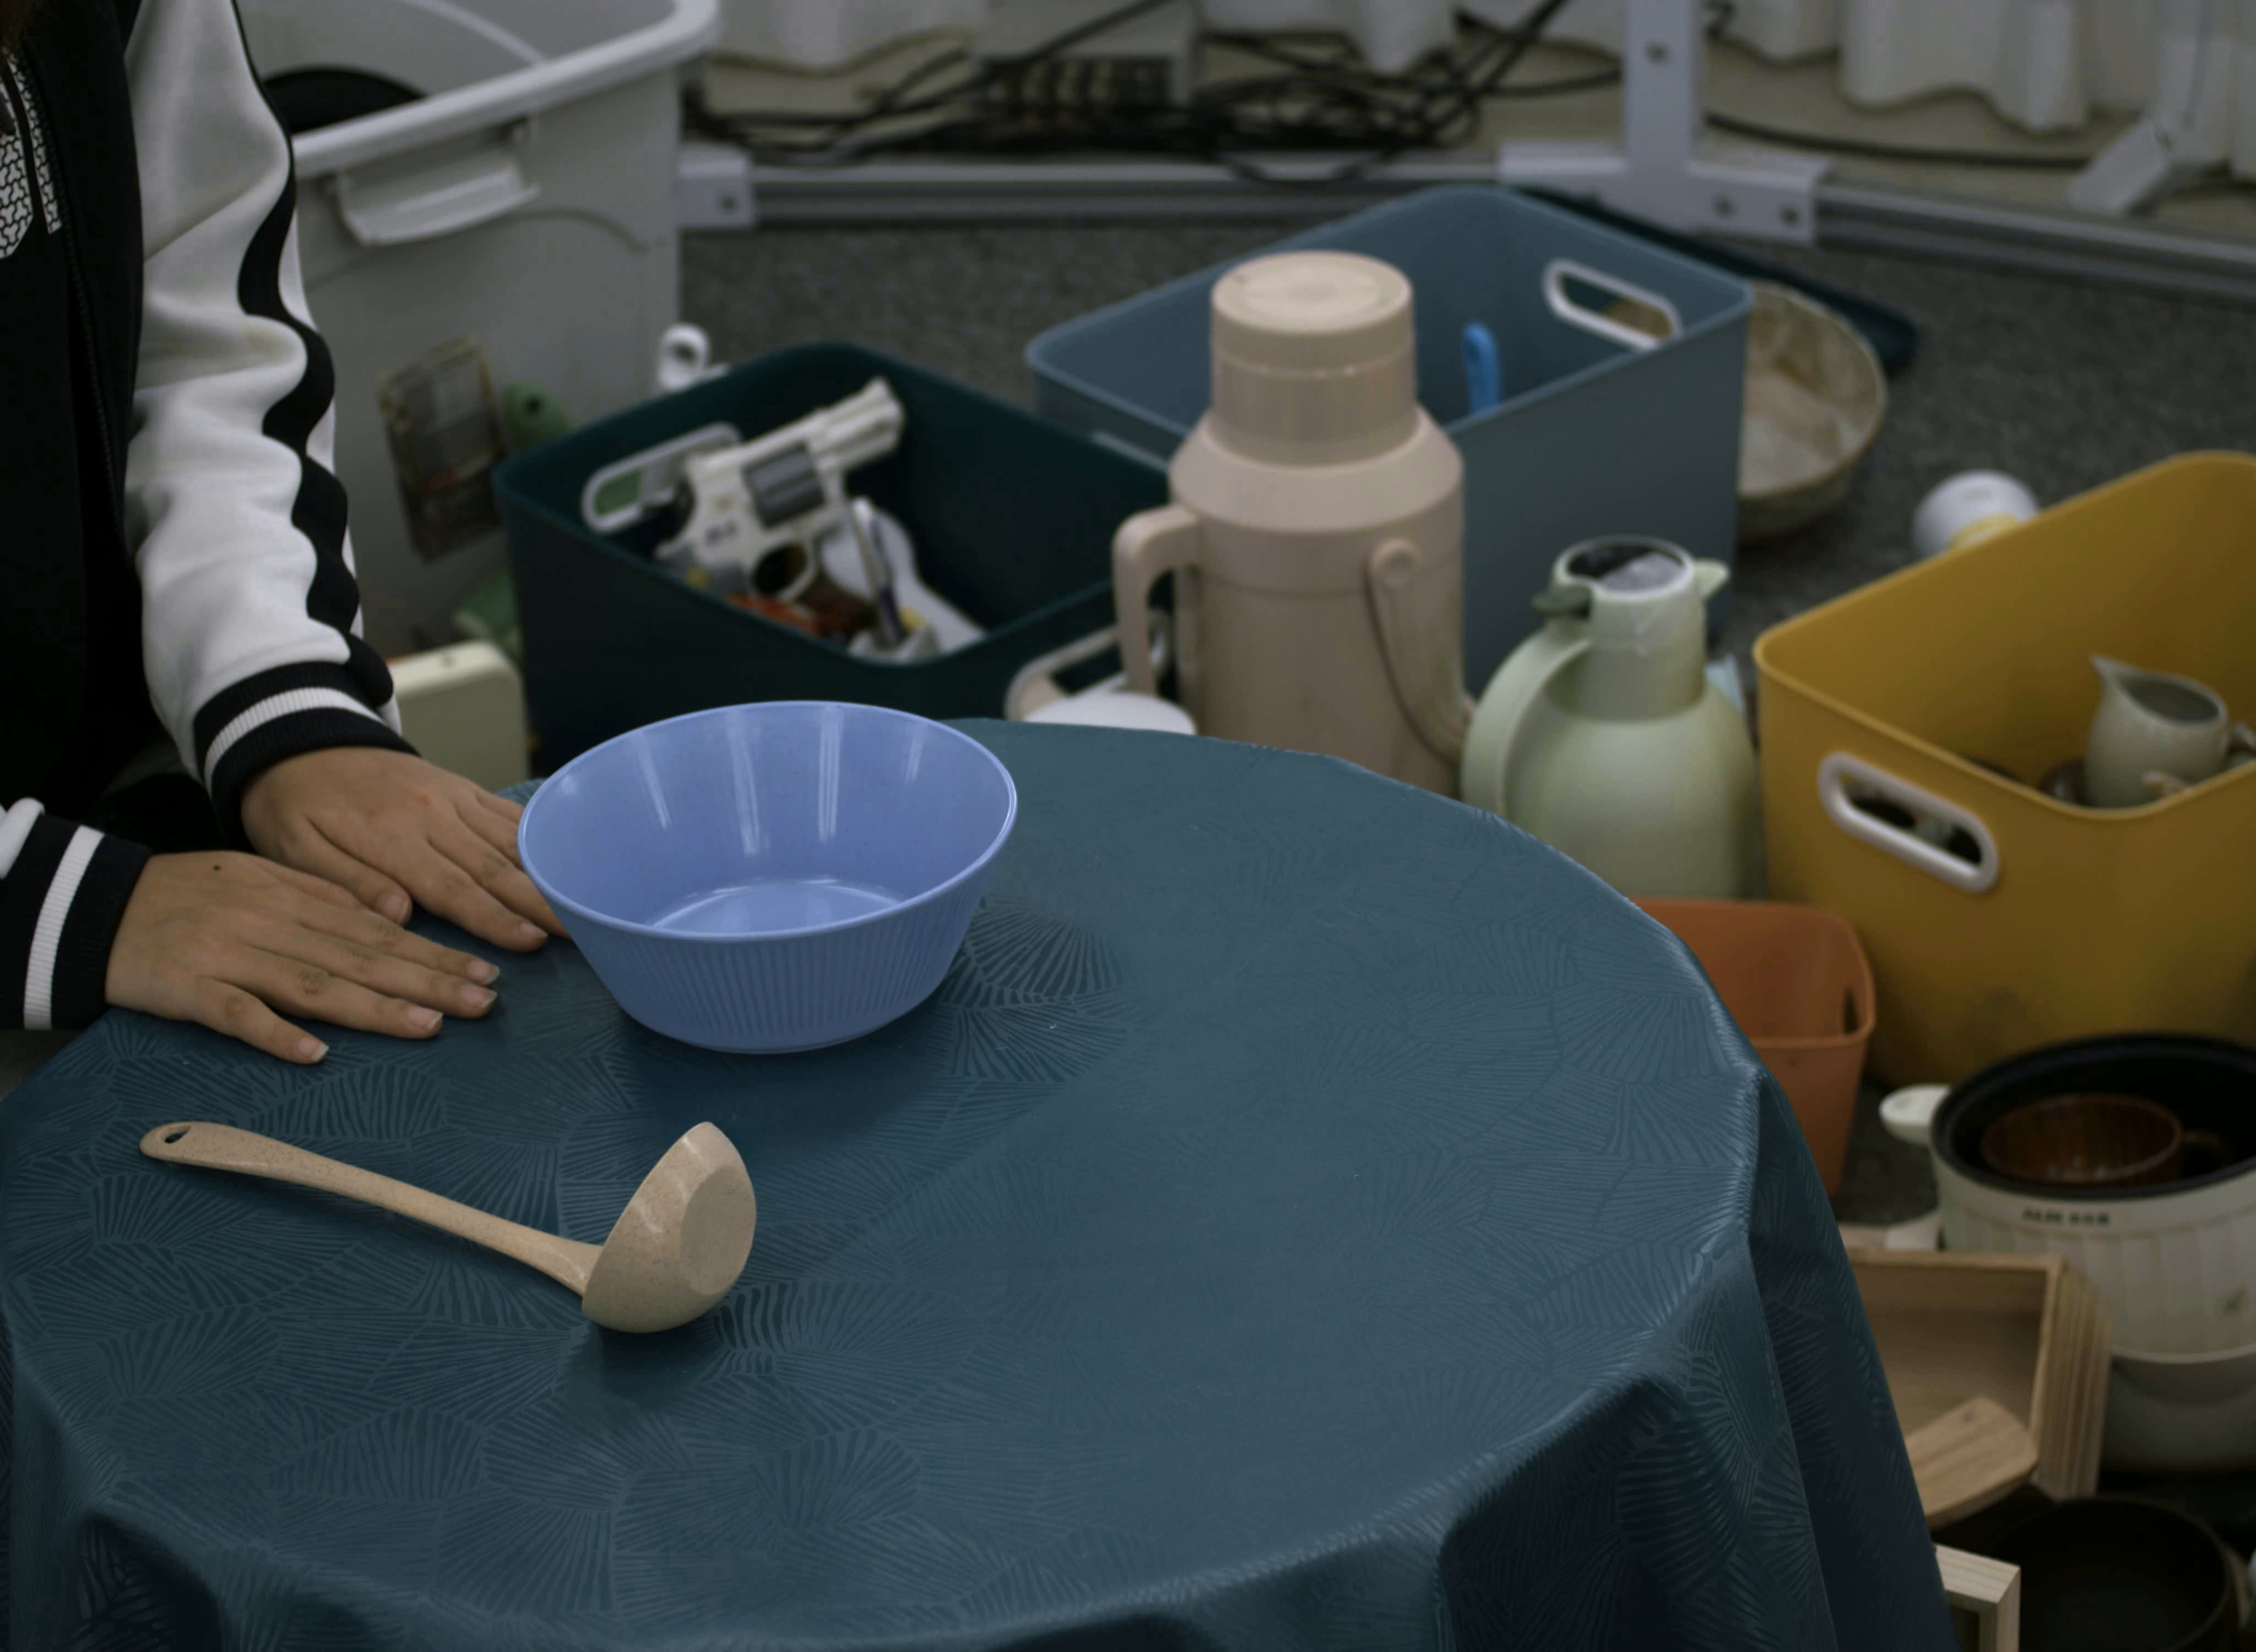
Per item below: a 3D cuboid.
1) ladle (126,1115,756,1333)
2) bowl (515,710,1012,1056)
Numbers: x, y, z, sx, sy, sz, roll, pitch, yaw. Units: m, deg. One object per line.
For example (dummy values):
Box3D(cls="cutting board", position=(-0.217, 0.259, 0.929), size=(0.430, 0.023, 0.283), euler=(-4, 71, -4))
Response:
Box3D(cls="ladle", position=(-0.236, 0.108, 1.833), size=(0.253, 0.072, 0.073), euler=(12, 43, 28))
Box3D(cls="bowl", position=(-0.126, 0.026, 1.985), size=(0.175, 0.069, 0.179), euler=(-2, 26, 1))
